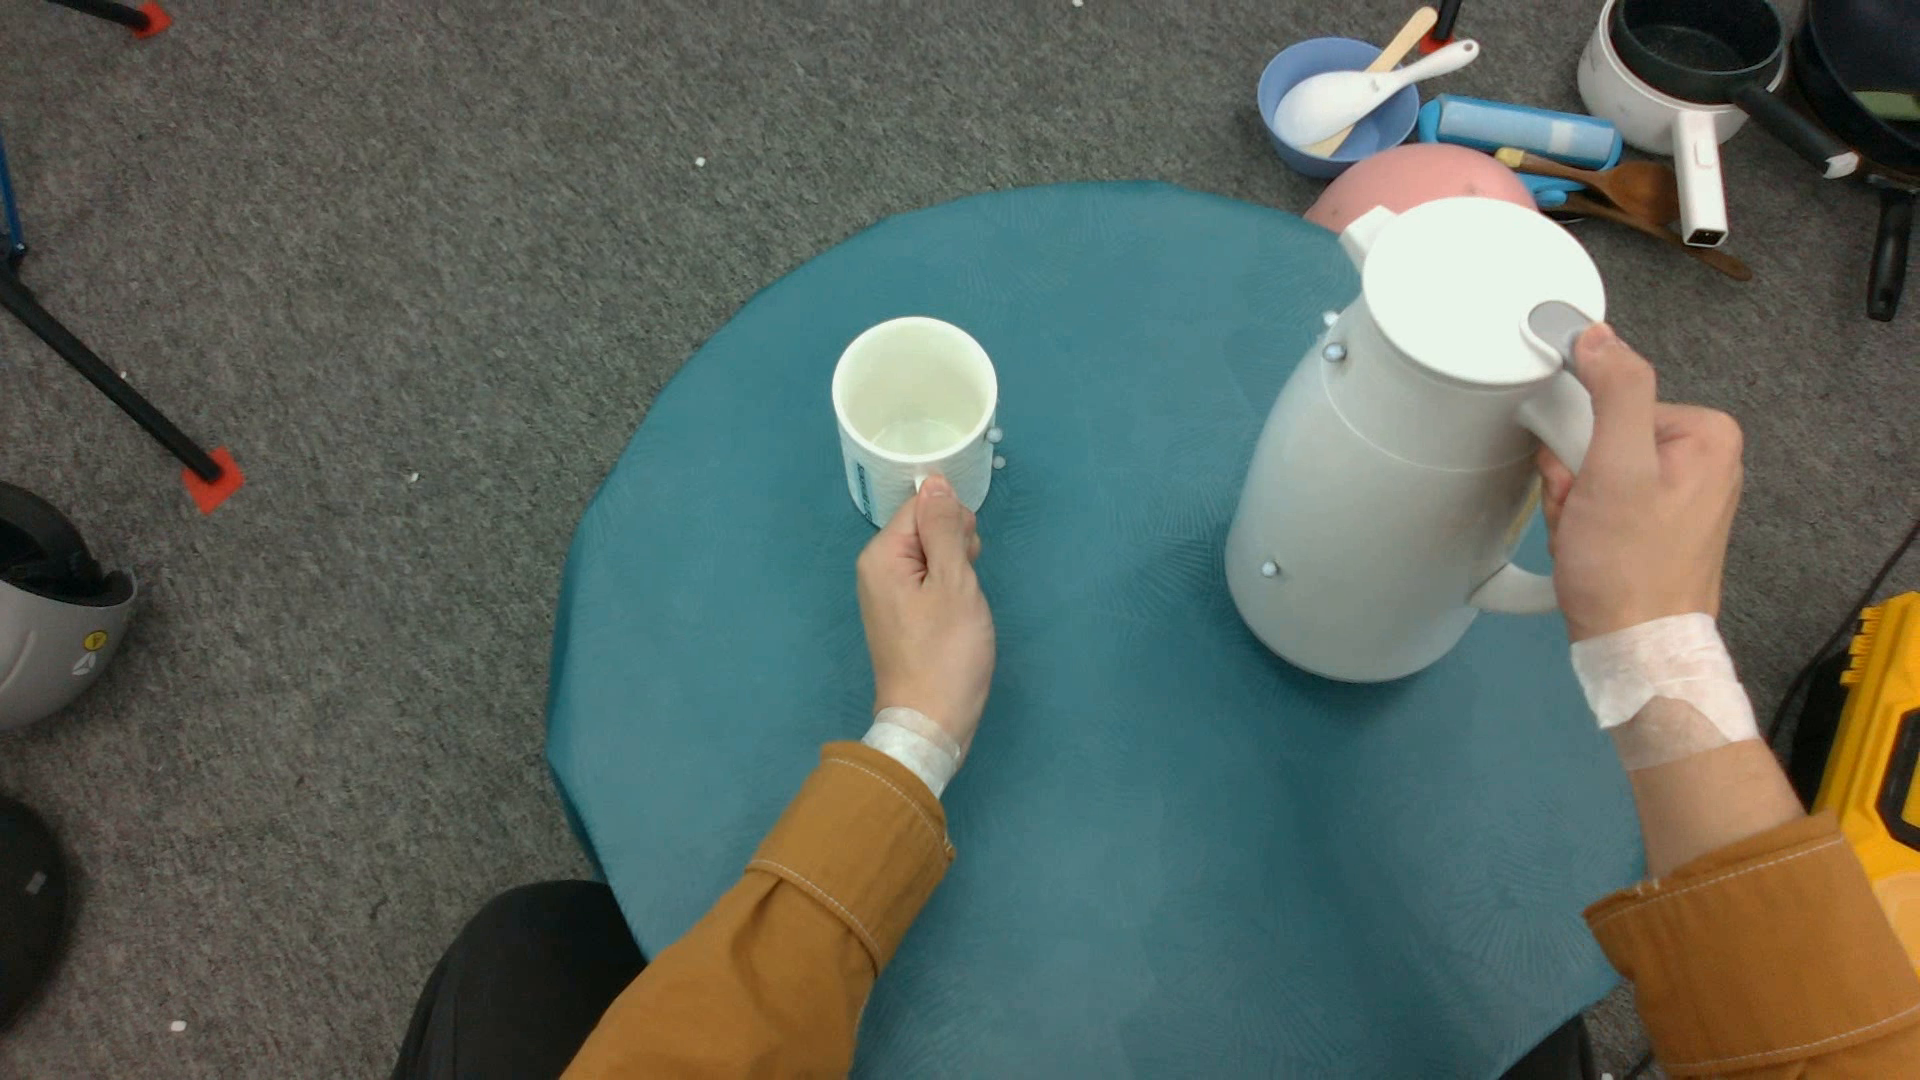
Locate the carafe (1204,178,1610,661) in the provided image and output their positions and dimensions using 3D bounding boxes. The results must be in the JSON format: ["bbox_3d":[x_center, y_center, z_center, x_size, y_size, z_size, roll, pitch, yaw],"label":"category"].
[{"bbox_3d":[0.209,-0.040,0.635,0.133,0.247,0.168,-36,67,-18],"label":"carafe"}]

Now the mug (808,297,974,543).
[{"bbox_3d":[-0.033,-0.054,0.743,0.085,0.101,0.118,-11,66,-7],"label":"mug"}]
